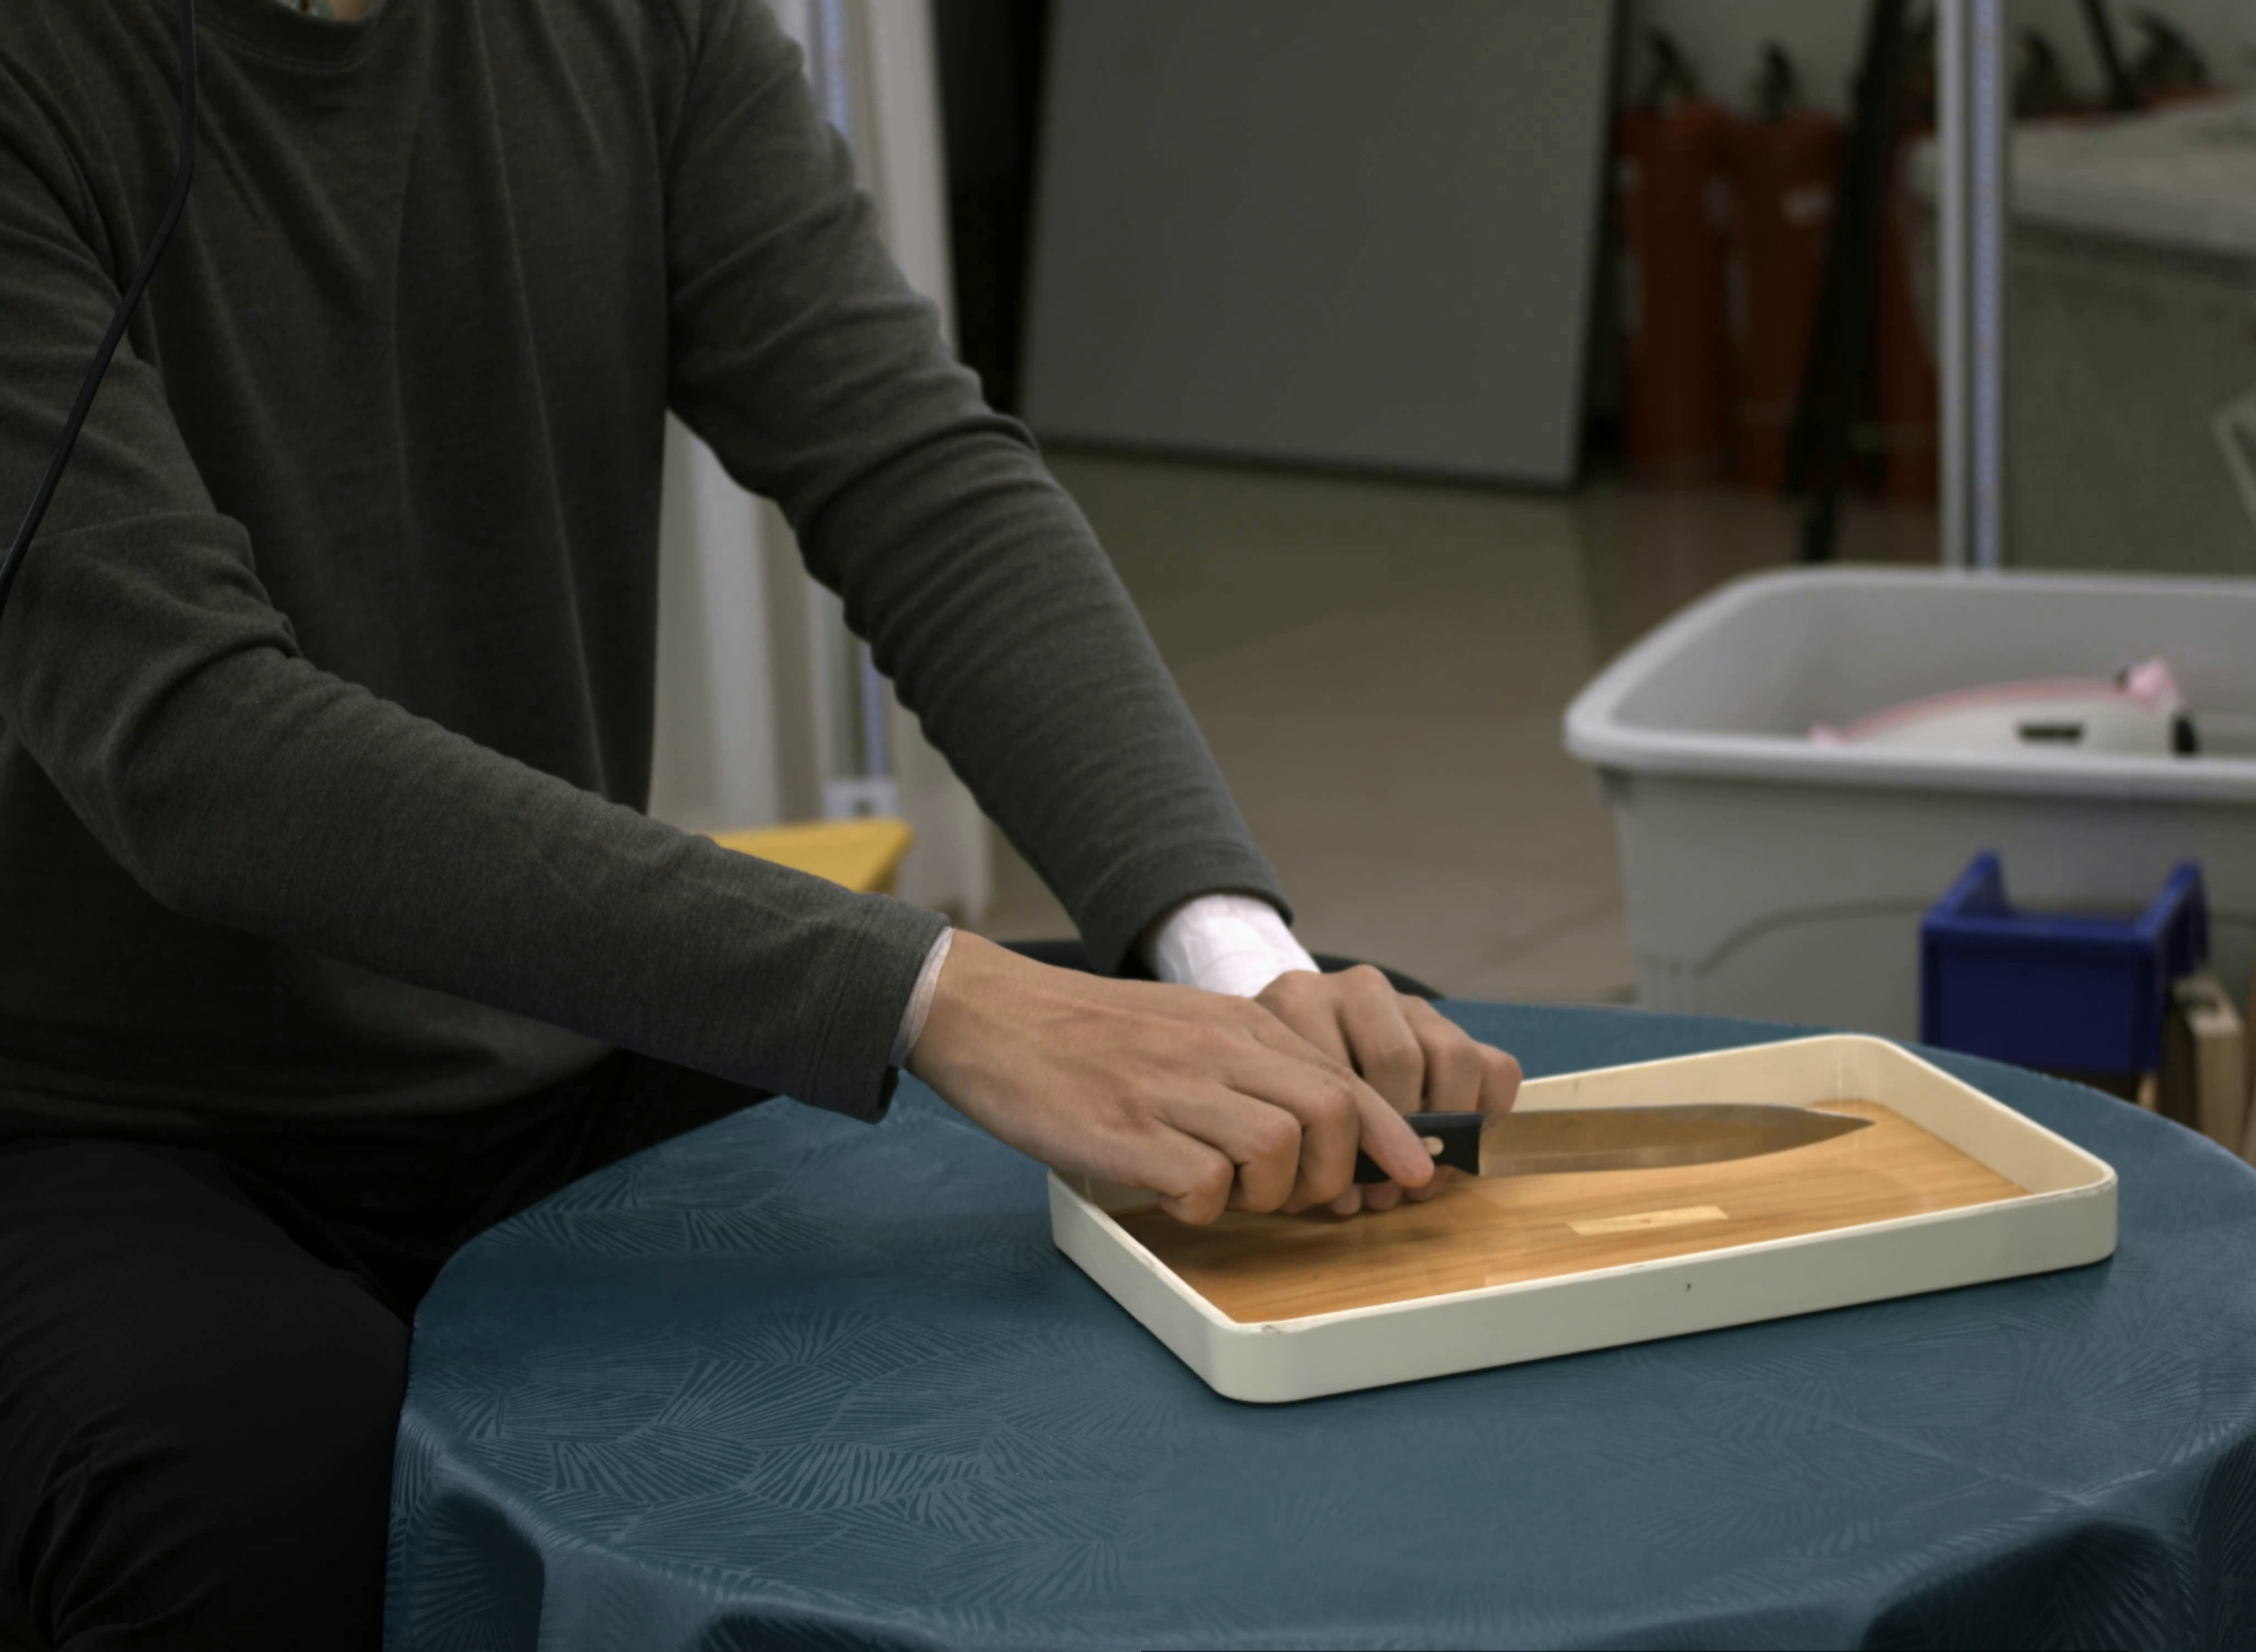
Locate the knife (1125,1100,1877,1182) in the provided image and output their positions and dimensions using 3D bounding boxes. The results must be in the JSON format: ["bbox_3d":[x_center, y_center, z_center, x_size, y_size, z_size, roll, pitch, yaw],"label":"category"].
[{"bbox_3d":[0.117,0.097,1.684,0.235,0.025,0.016,-2,11,3],"label":"knife"}]

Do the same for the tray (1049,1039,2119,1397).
[{"bbox_3d":[0.140,0.120,1.684,0.294,0.028,0.193,-8,13,-16],"label":"tray"}]
